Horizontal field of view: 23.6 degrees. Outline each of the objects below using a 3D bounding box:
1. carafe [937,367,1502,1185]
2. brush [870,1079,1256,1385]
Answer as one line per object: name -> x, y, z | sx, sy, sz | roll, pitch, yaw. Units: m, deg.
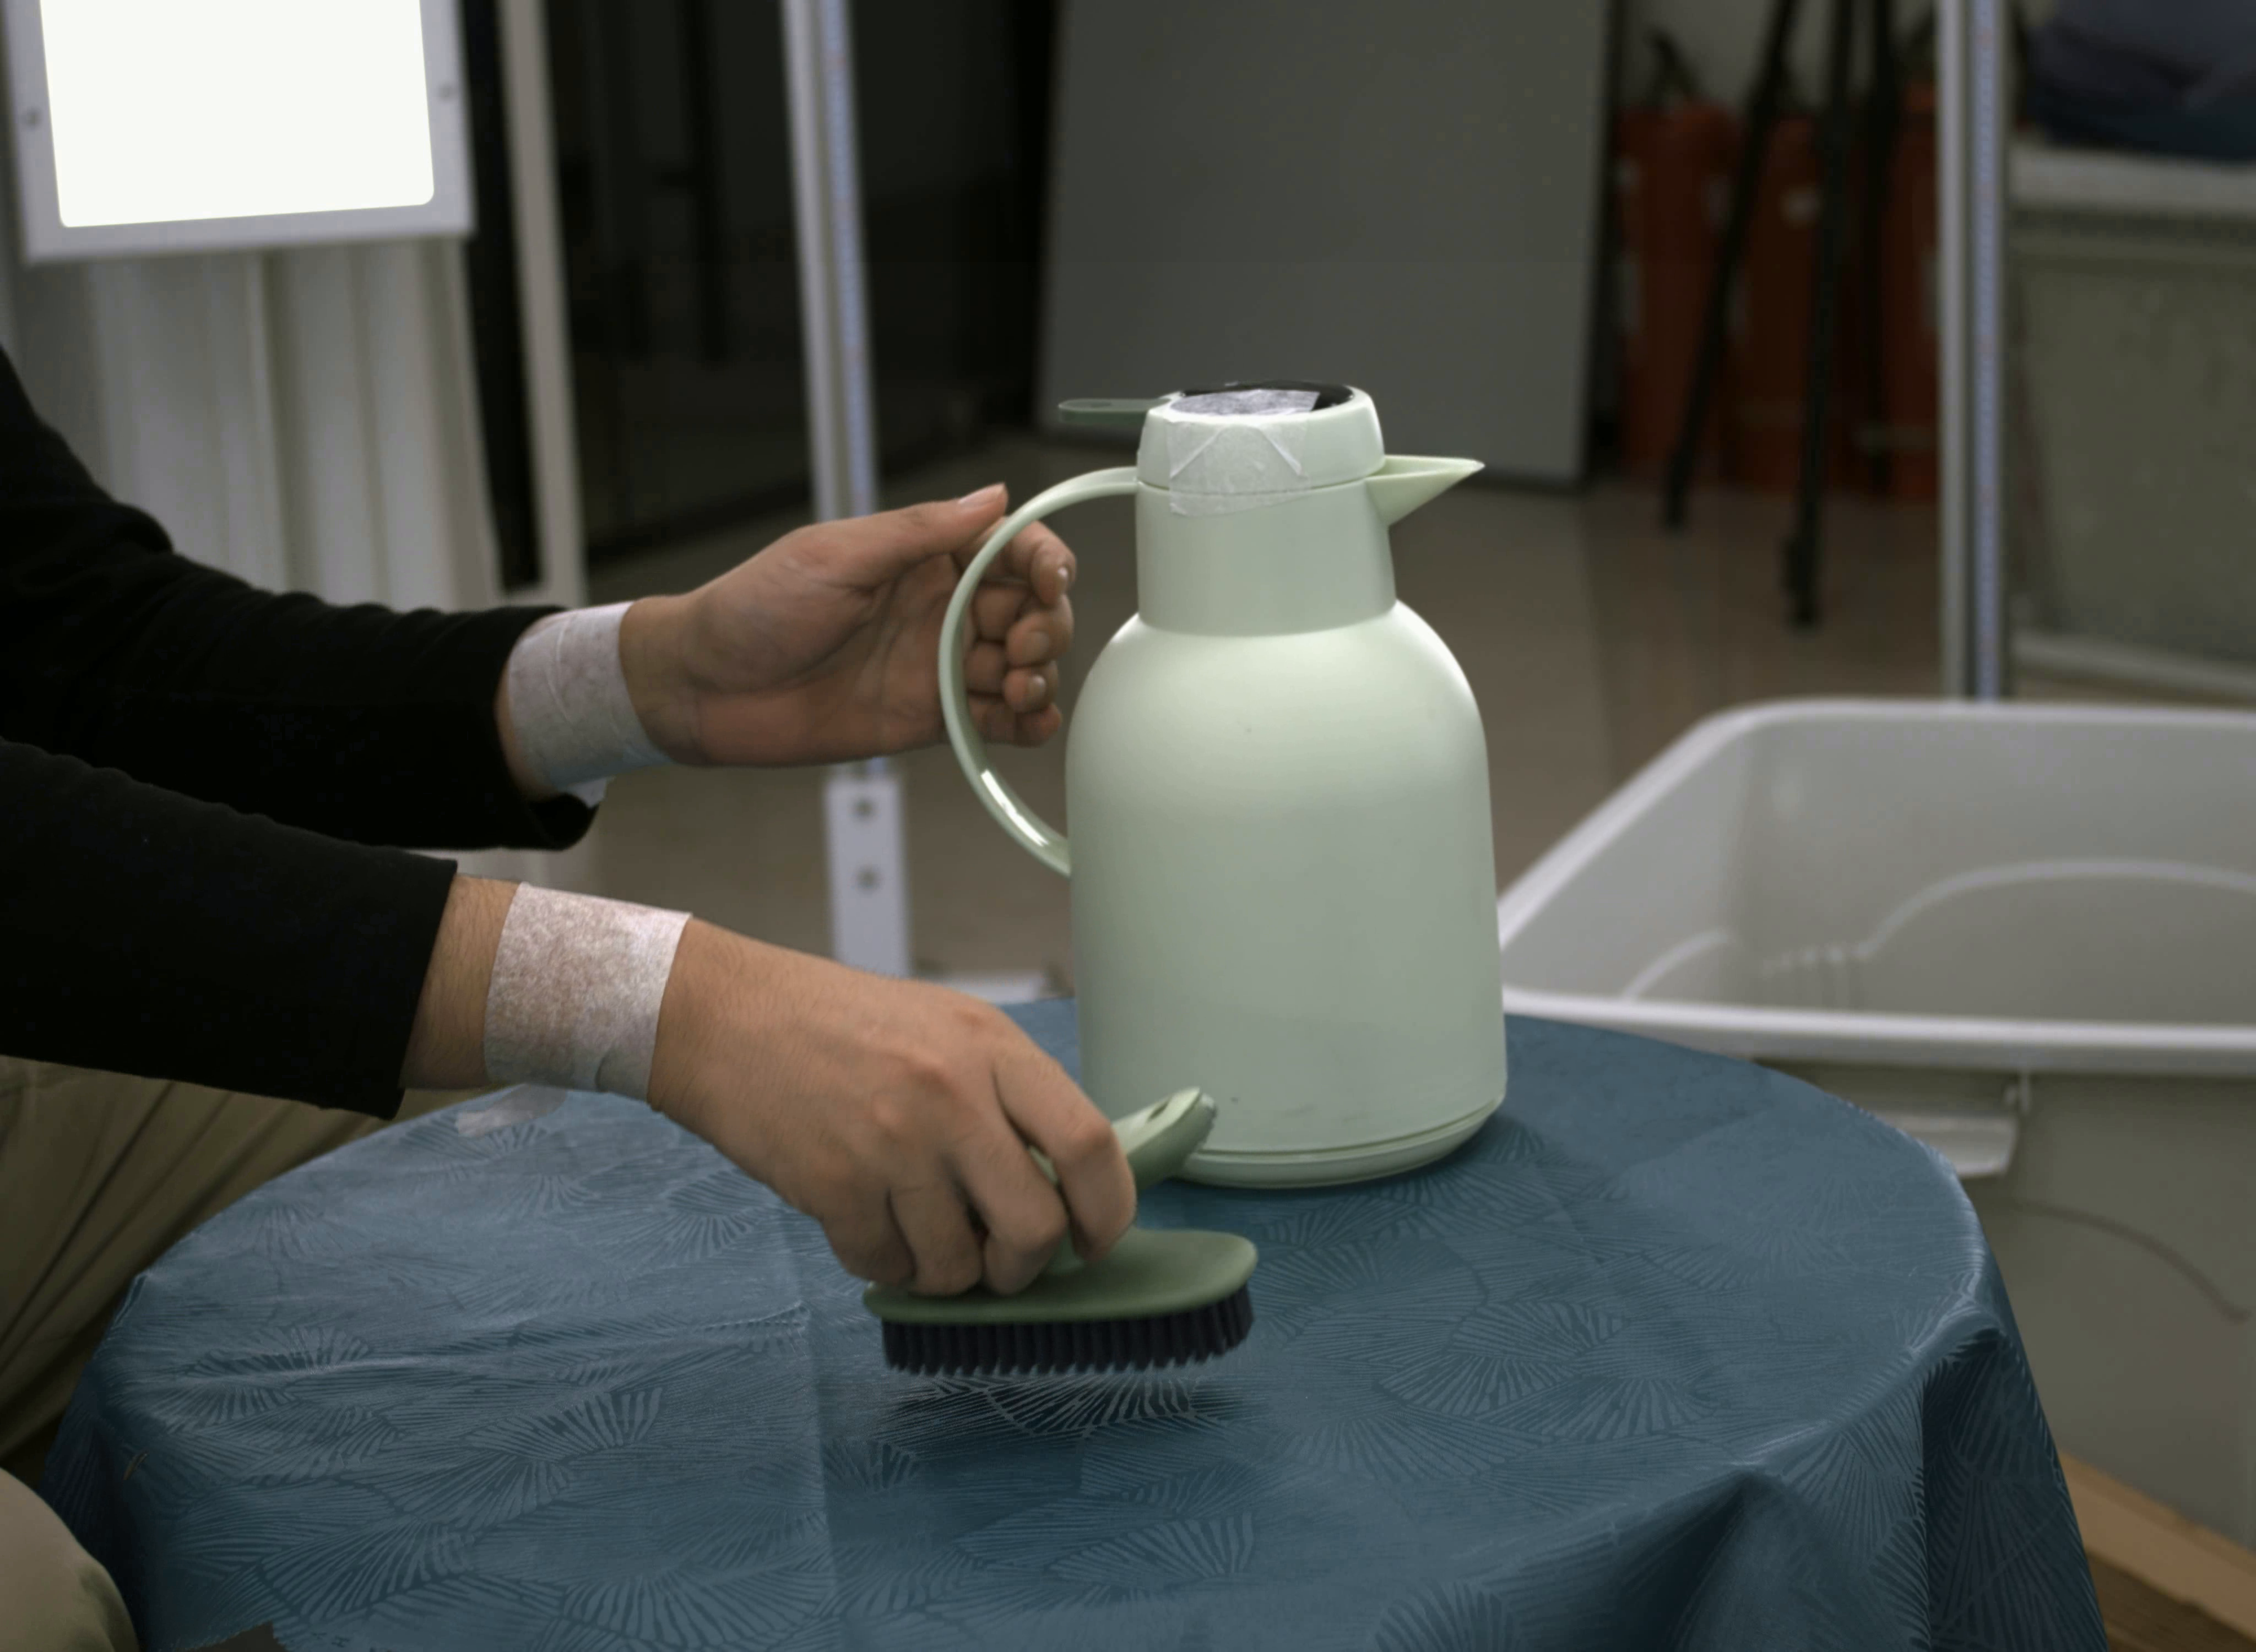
carafe -> 0.034, -0.020, 1.790 | 0.185, 0.259, 0.144 | -4, 13, 10
brush -> -0.018, 0.126, 1.575 | 0.123, 0.076, 0.059 | -22, 8, 28
